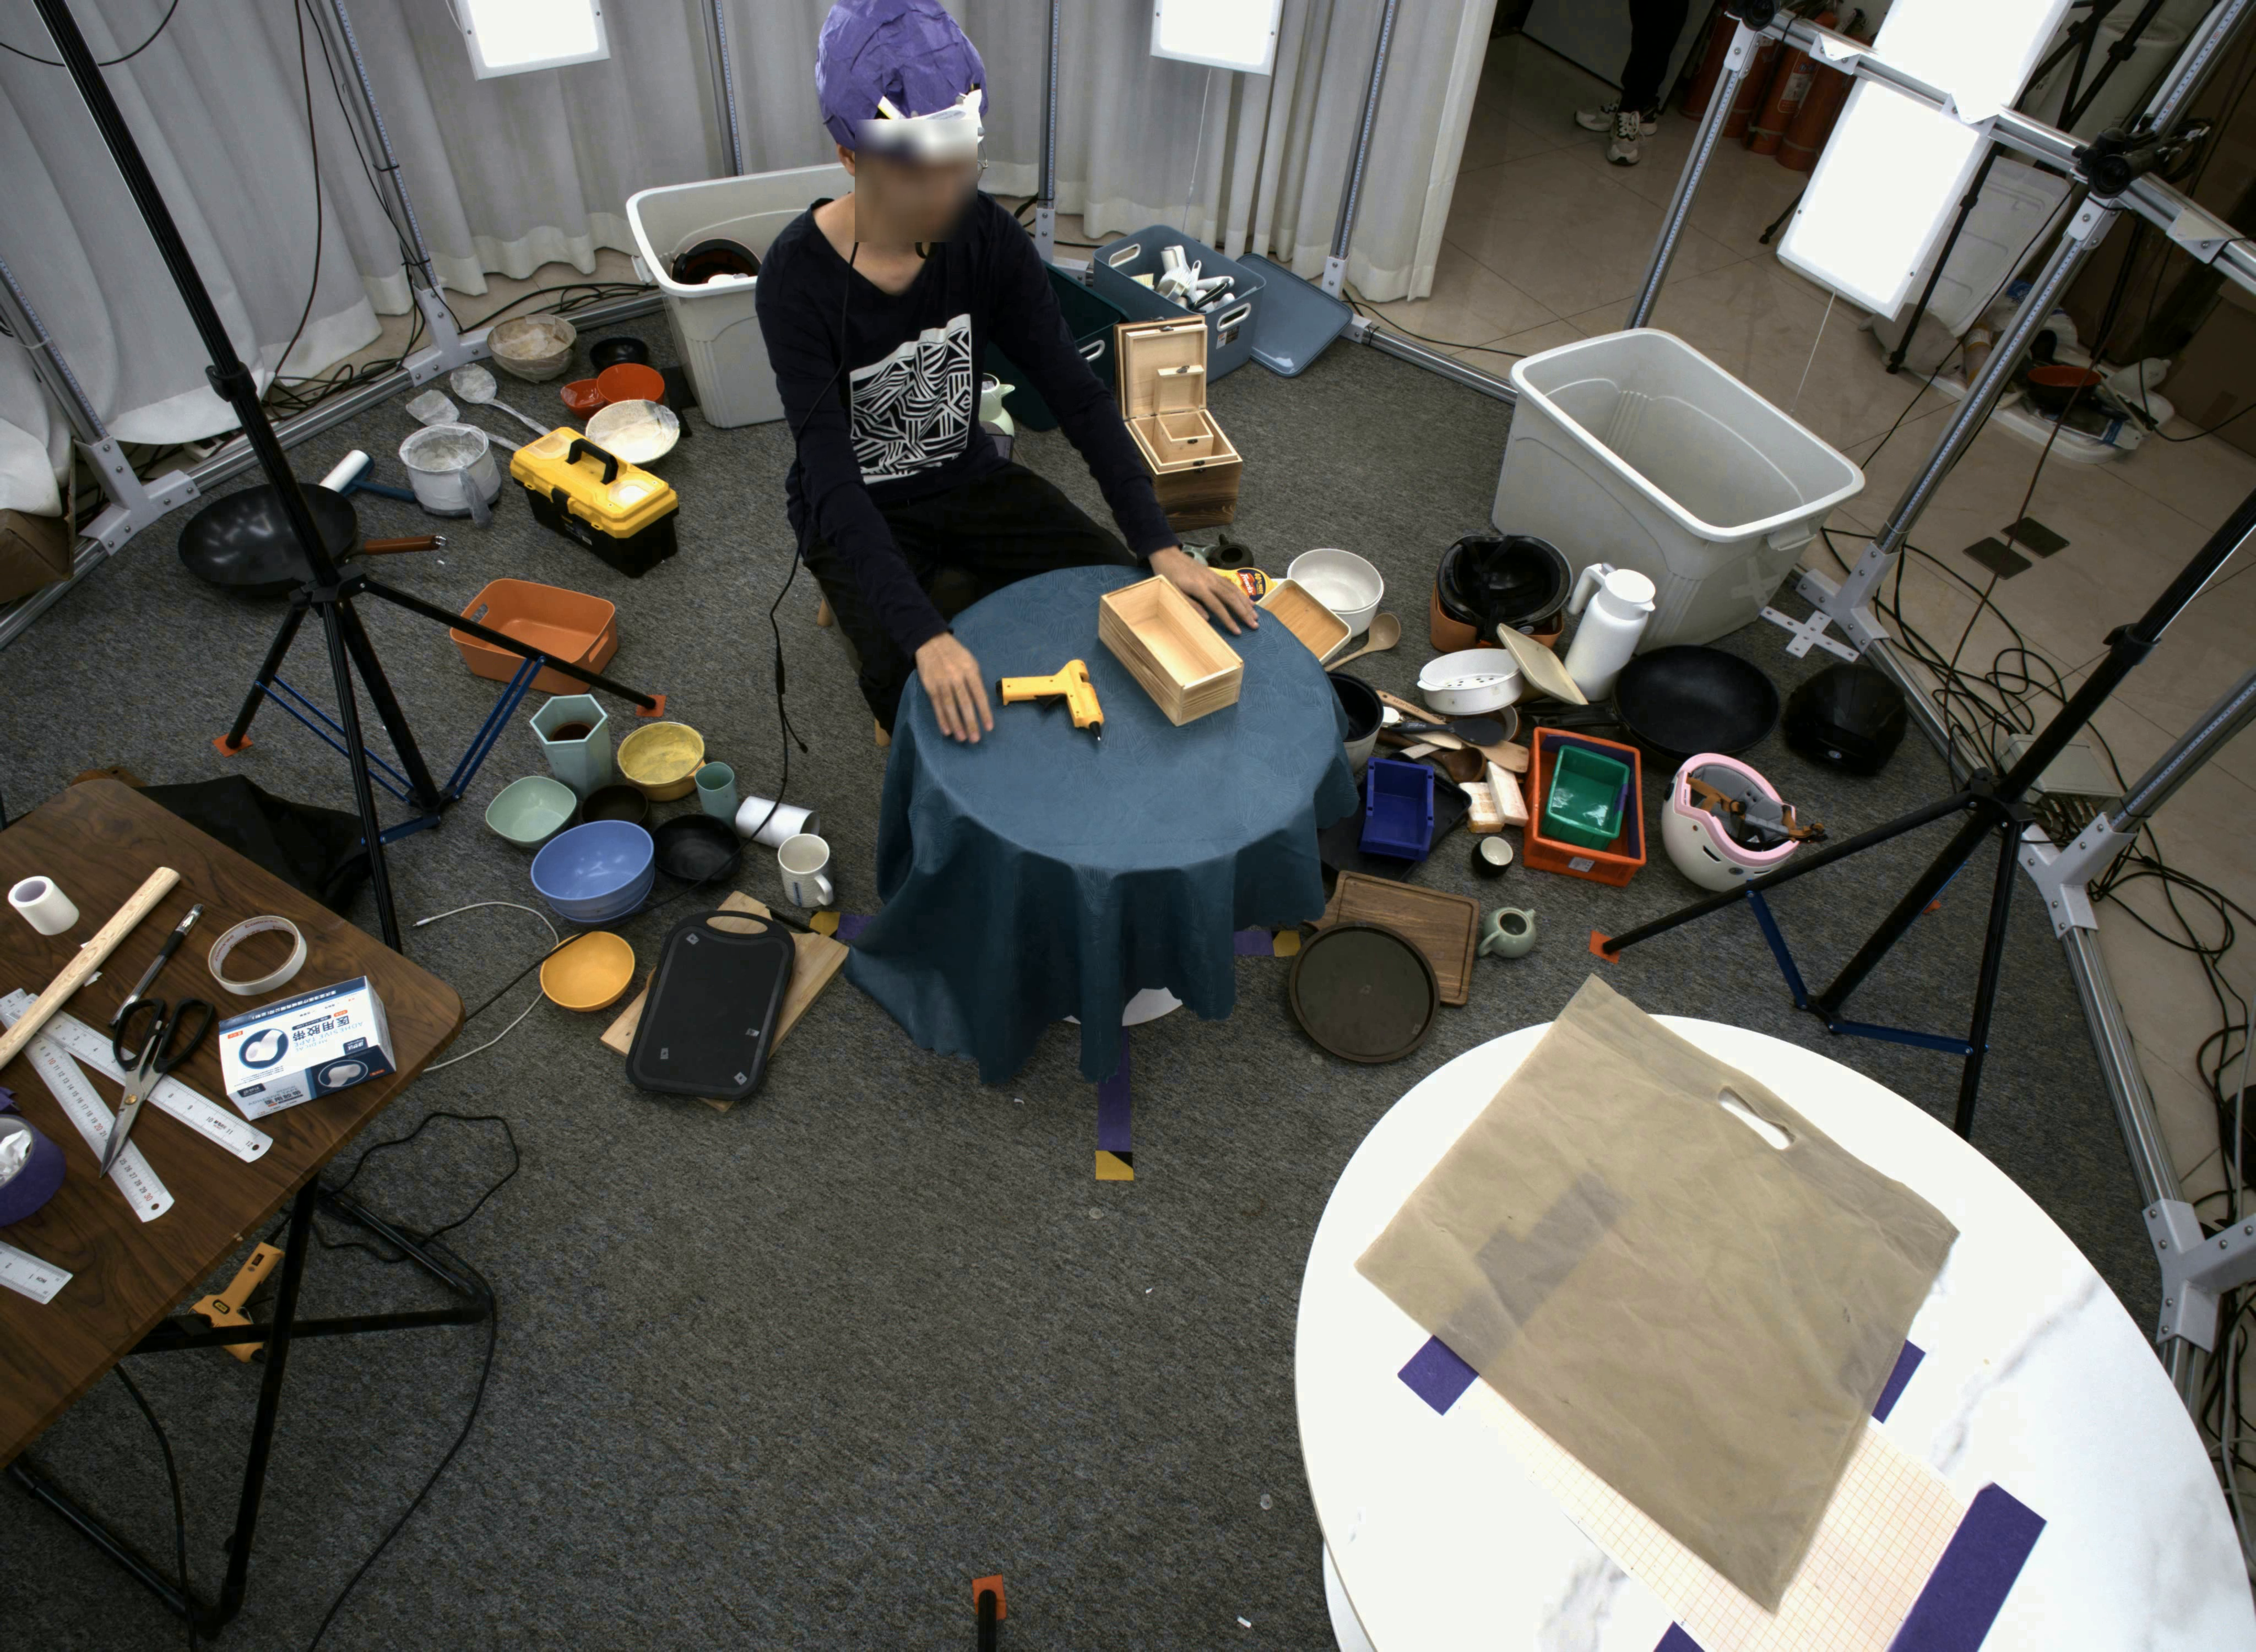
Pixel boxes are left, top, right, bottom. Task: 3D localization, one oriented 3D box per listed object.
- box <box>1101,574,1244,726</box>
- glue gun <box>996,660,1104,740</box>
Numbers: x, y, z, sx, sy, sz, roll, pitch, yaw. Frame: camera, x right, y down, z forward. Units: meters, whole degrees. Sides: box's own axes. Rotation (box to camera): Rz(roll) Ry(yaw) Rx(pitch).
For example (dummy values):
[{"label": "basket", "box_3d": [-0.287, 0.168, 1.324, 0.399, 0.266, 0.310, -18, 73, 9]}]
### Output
[{"label": "box", "box_3d": [0.060, -0.254, 1.833, 0.108, 0.078, 0.216, -22, 55, -22]}, {"label": "glue gun", "box_3d": [-0.100, -0.164, 1.778, 0.133, 0.030, 0.155, -14, 50, -15]}]
